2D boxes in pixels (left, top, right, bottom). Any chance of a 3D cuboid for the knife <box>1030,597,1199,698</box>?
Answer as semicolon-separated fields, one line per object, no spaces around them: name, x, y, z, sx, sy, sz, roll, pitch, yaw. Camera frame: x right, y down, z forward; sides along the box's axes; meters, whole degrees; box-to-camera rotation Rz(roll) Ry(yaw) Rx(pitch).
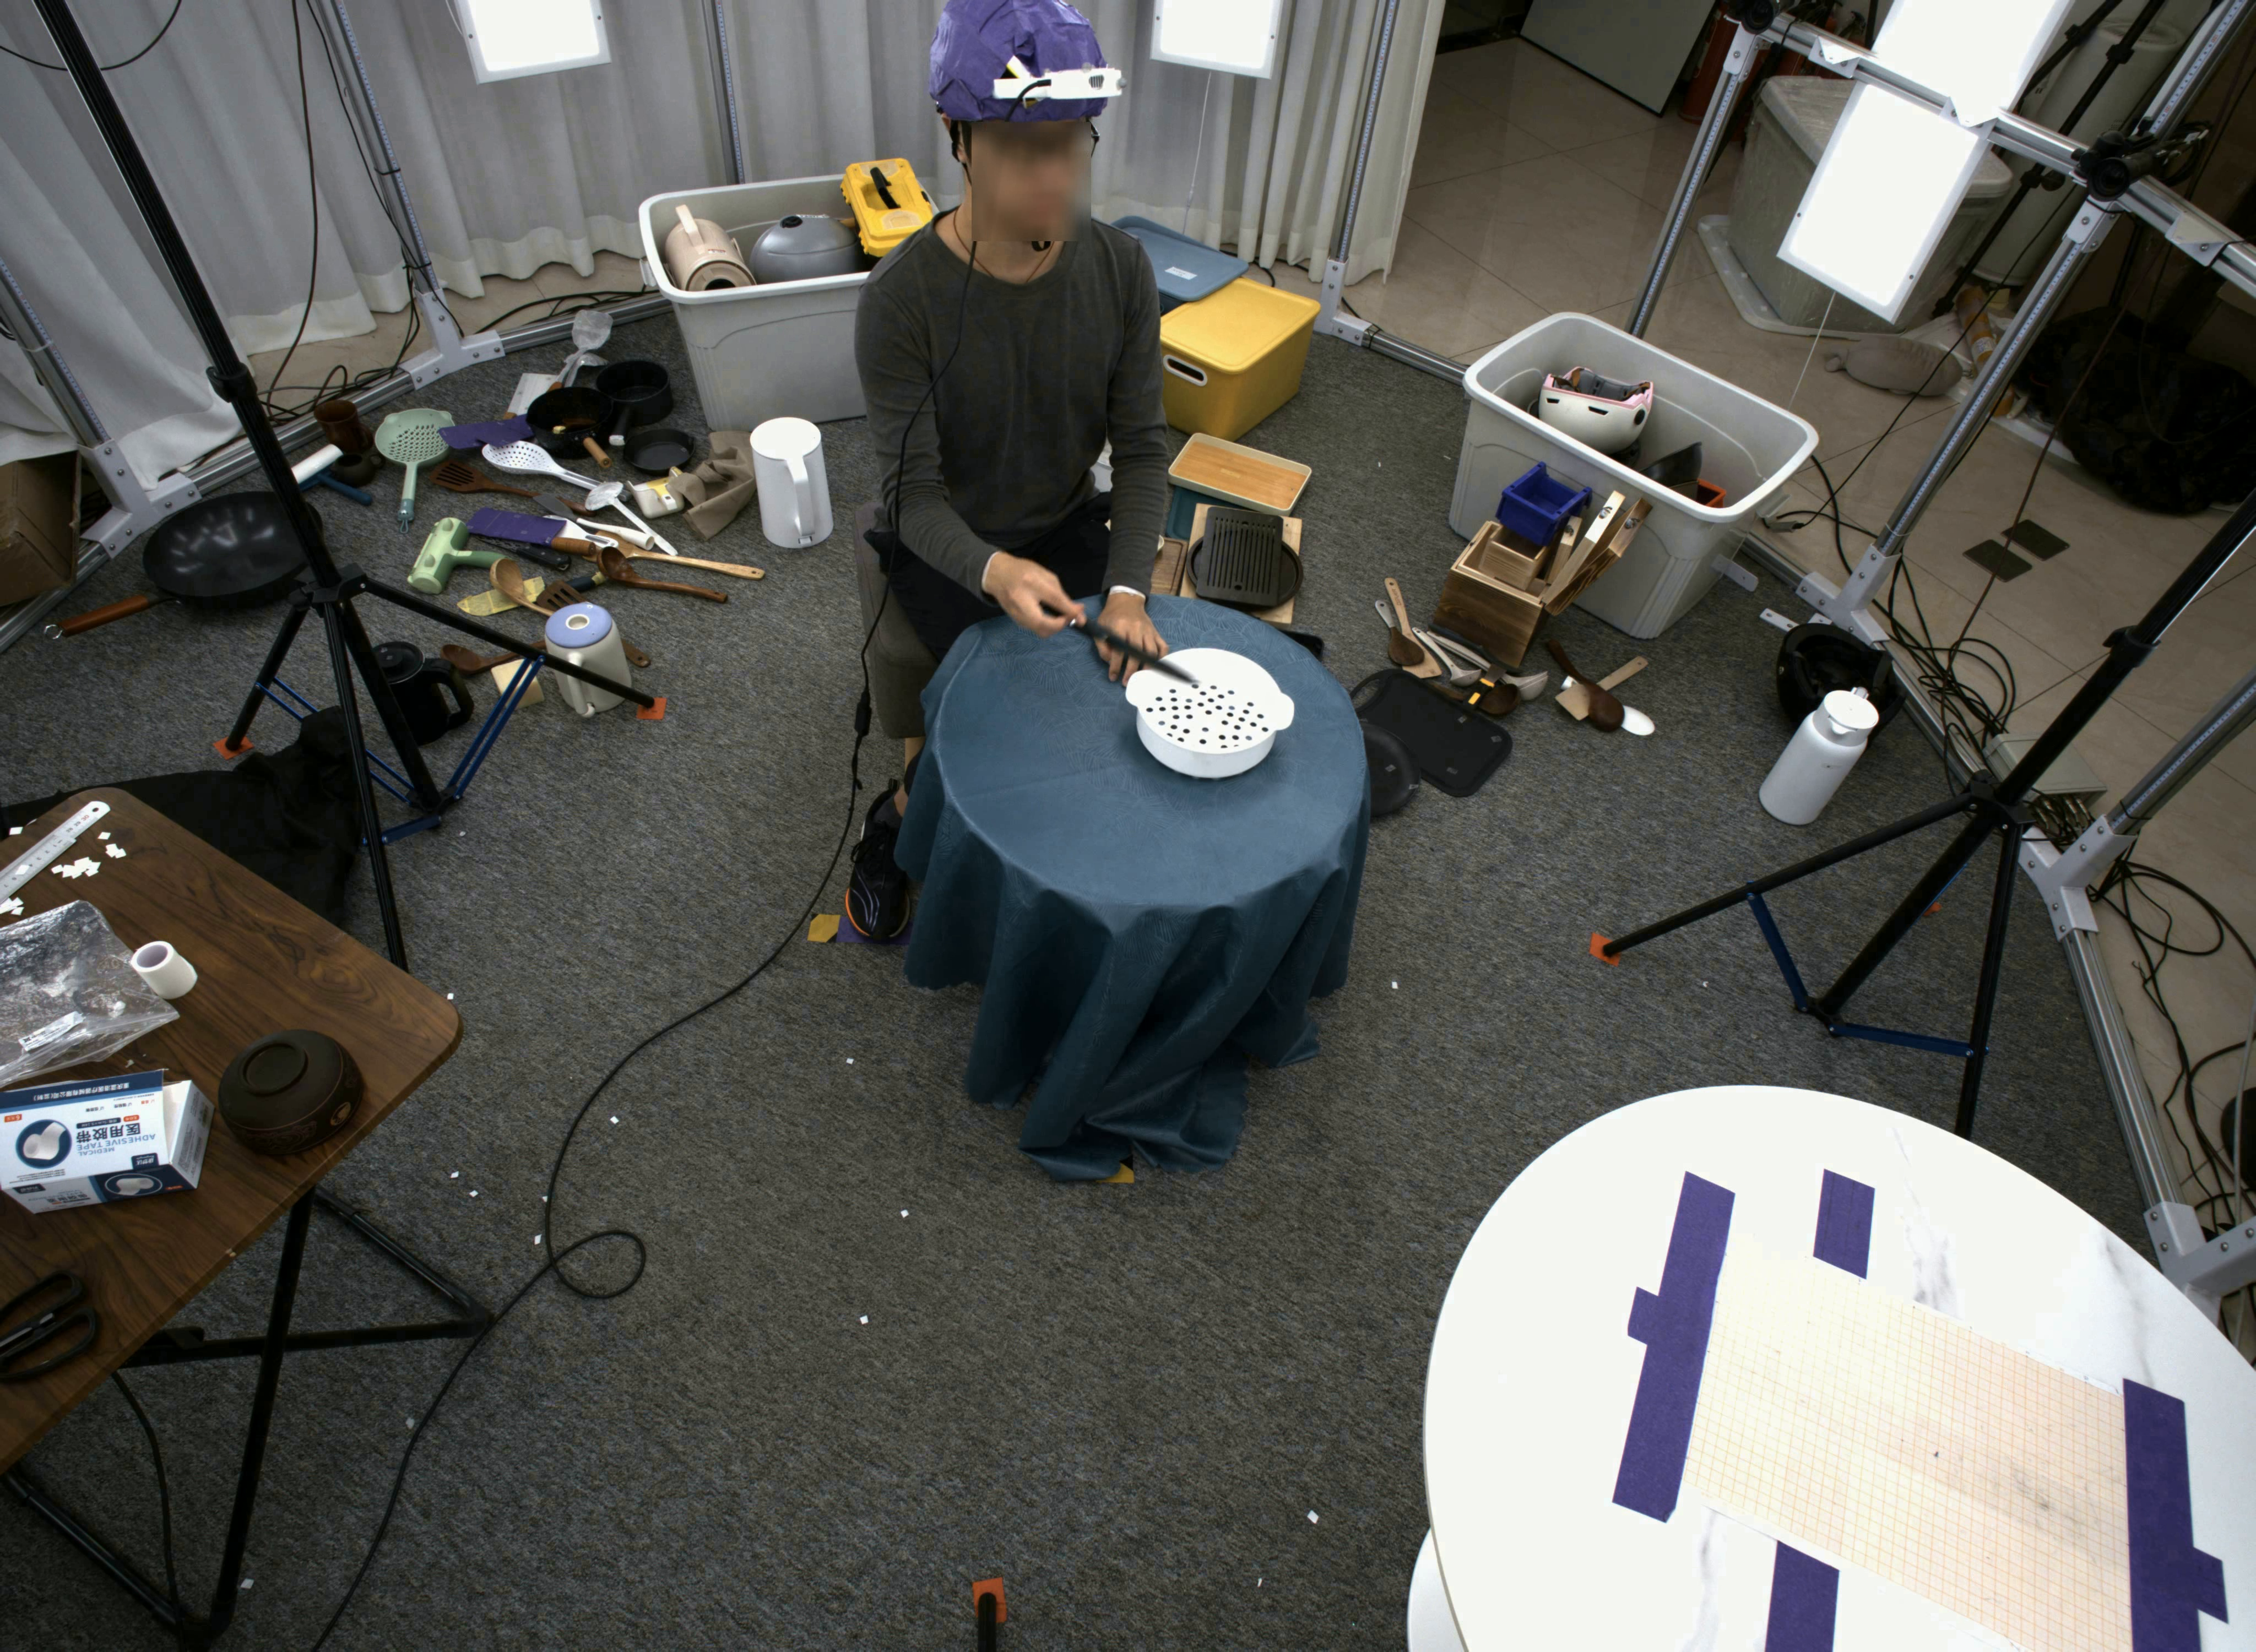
knife;-0.014;-0.221;1.590;0.238;0.024;0.016;30;37;1

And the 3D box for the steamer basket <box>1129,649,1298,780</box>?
steamer basket;0.115;-0.154;1.764;0.231;0.067;0.206;10;49;6
